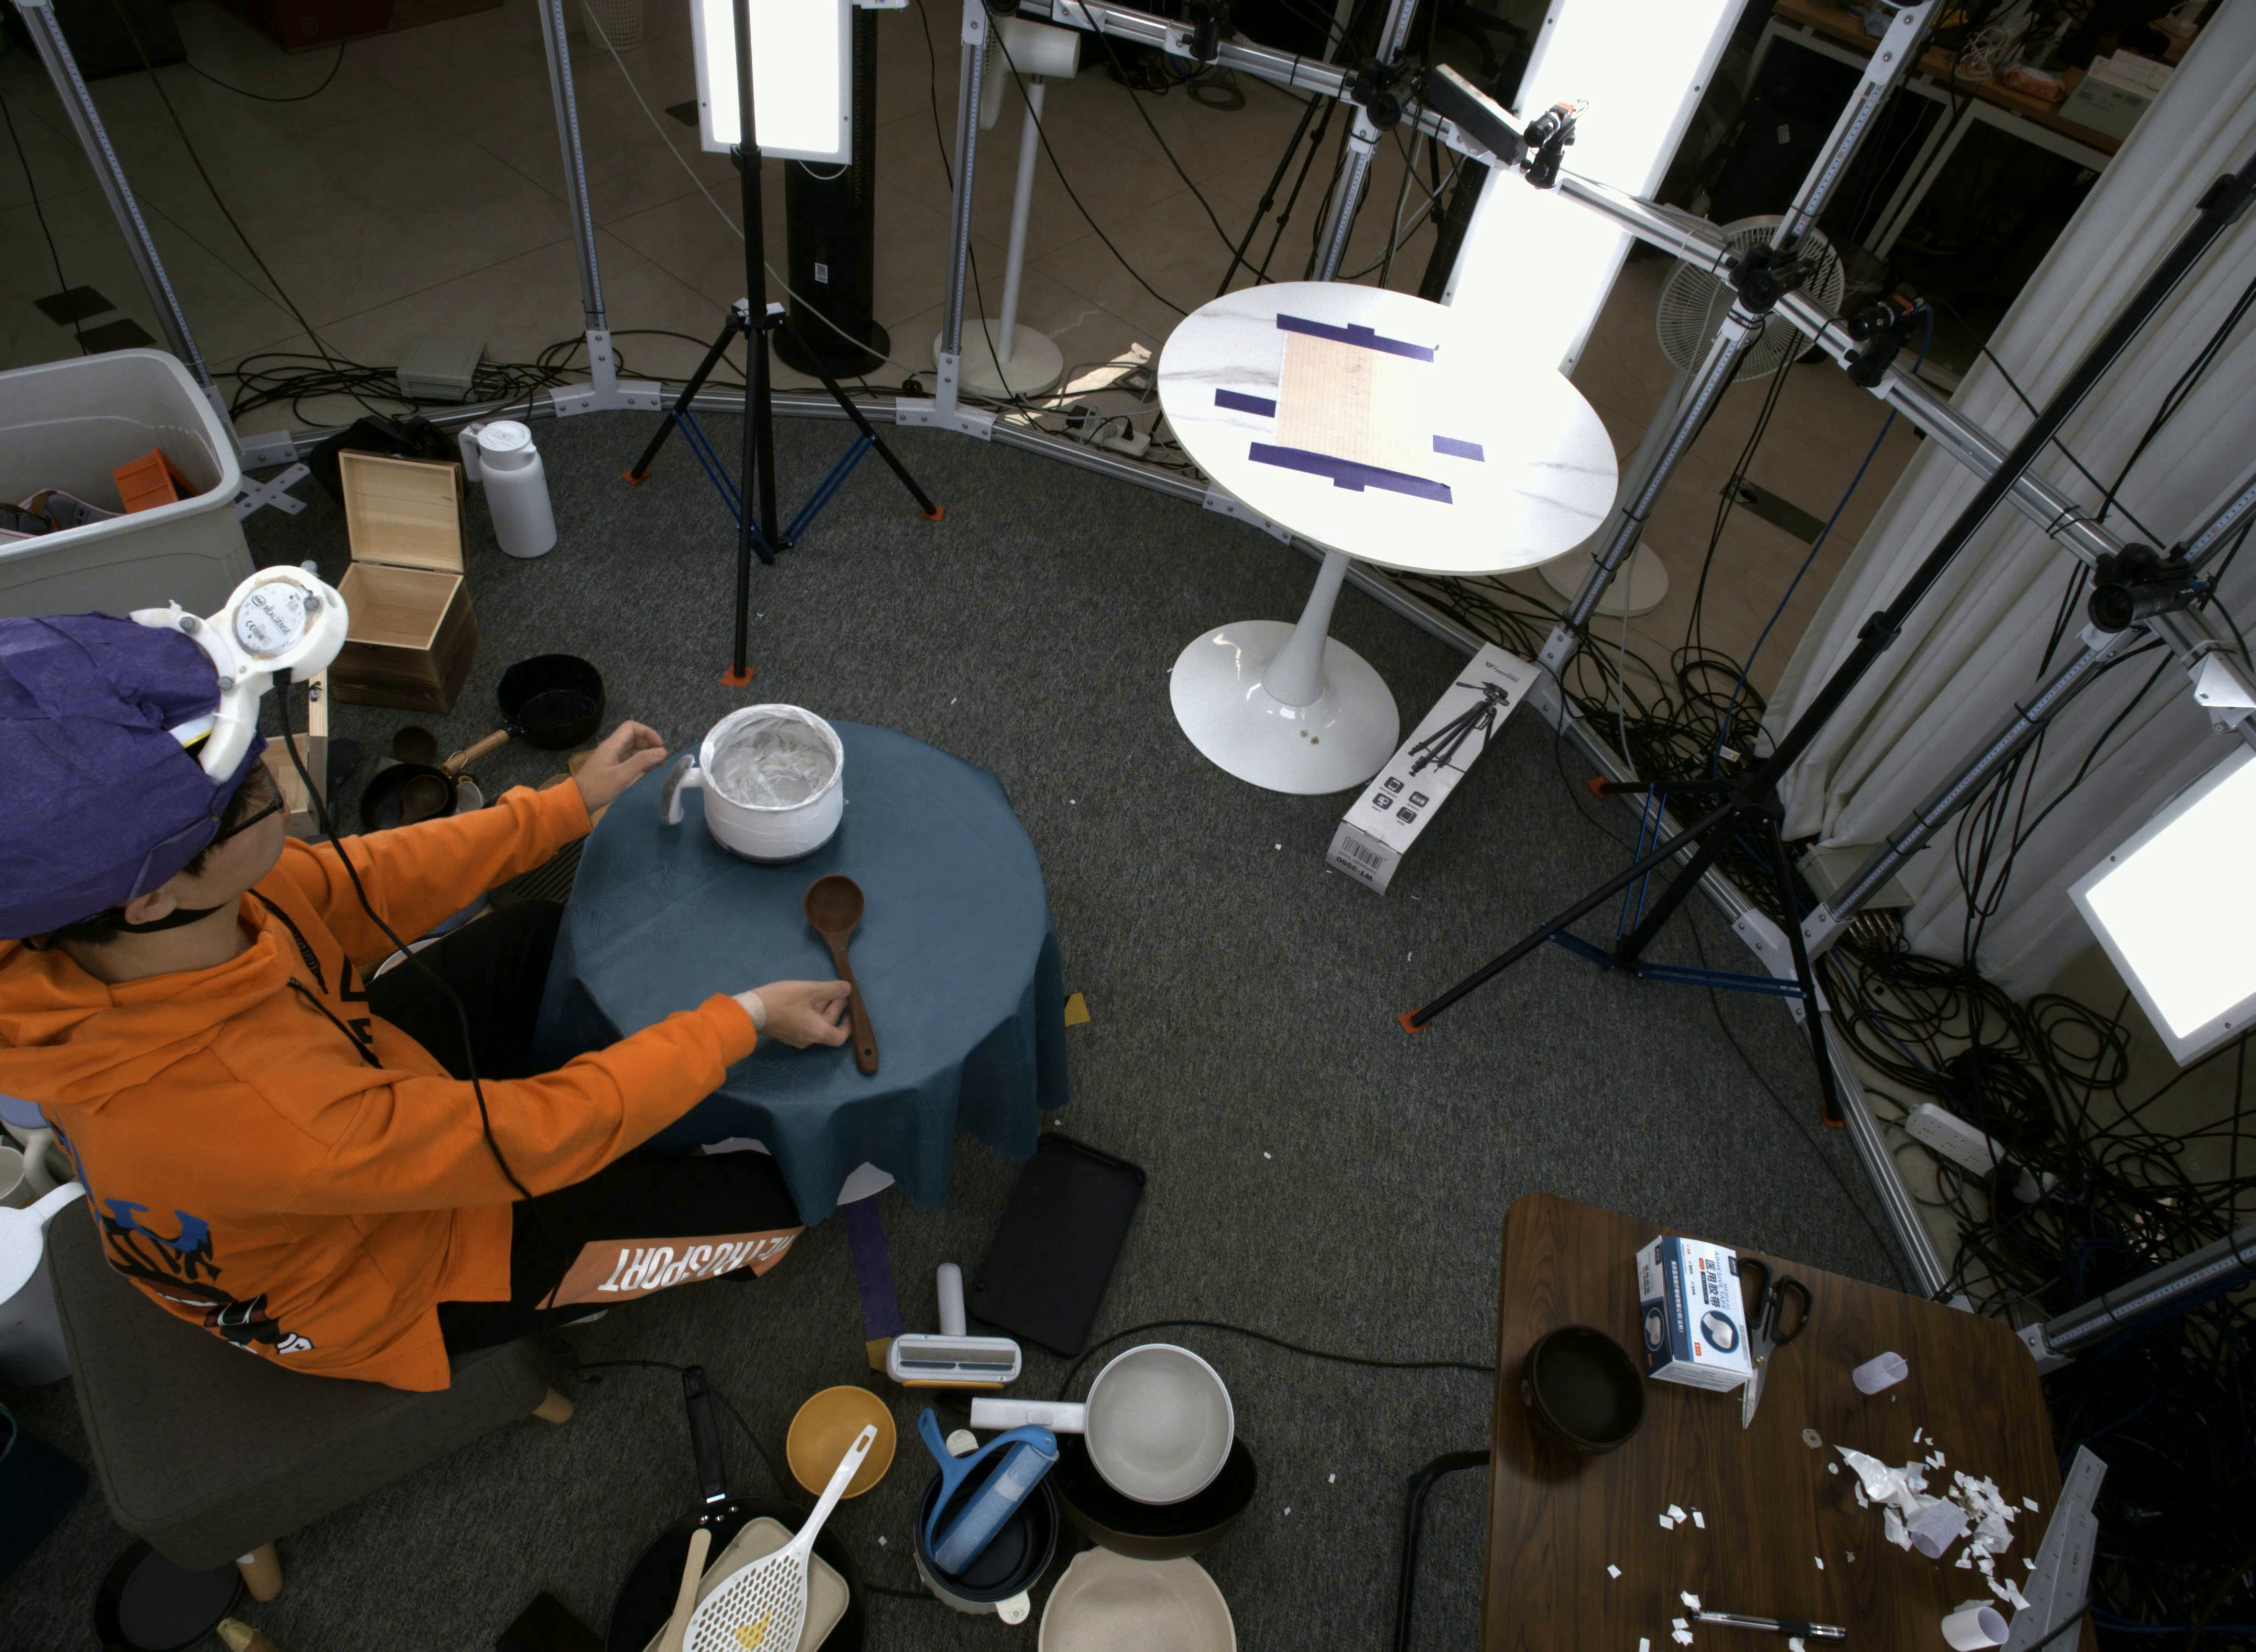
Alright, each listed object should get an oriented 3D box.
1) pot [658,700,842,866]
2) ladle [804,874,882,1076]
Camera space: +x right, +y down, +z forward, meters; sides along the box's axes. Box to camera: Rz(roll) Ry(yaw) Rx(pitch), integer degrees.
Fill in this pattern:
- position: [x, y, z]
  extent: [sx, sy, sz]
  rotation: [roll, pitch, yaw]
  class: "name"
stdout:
- position: [-0.482, -0.049, 1.646]
  extent: [0.234, 0.139, 0.174]
  rotation: [-5, 54, -18]
  class: "pot"
- position: [-0.335, 0.172, 1.567]
  extent: [0.077, 0.066, 0.254]
  rotation: [-9, 56, -21]
  class: "ladle"
